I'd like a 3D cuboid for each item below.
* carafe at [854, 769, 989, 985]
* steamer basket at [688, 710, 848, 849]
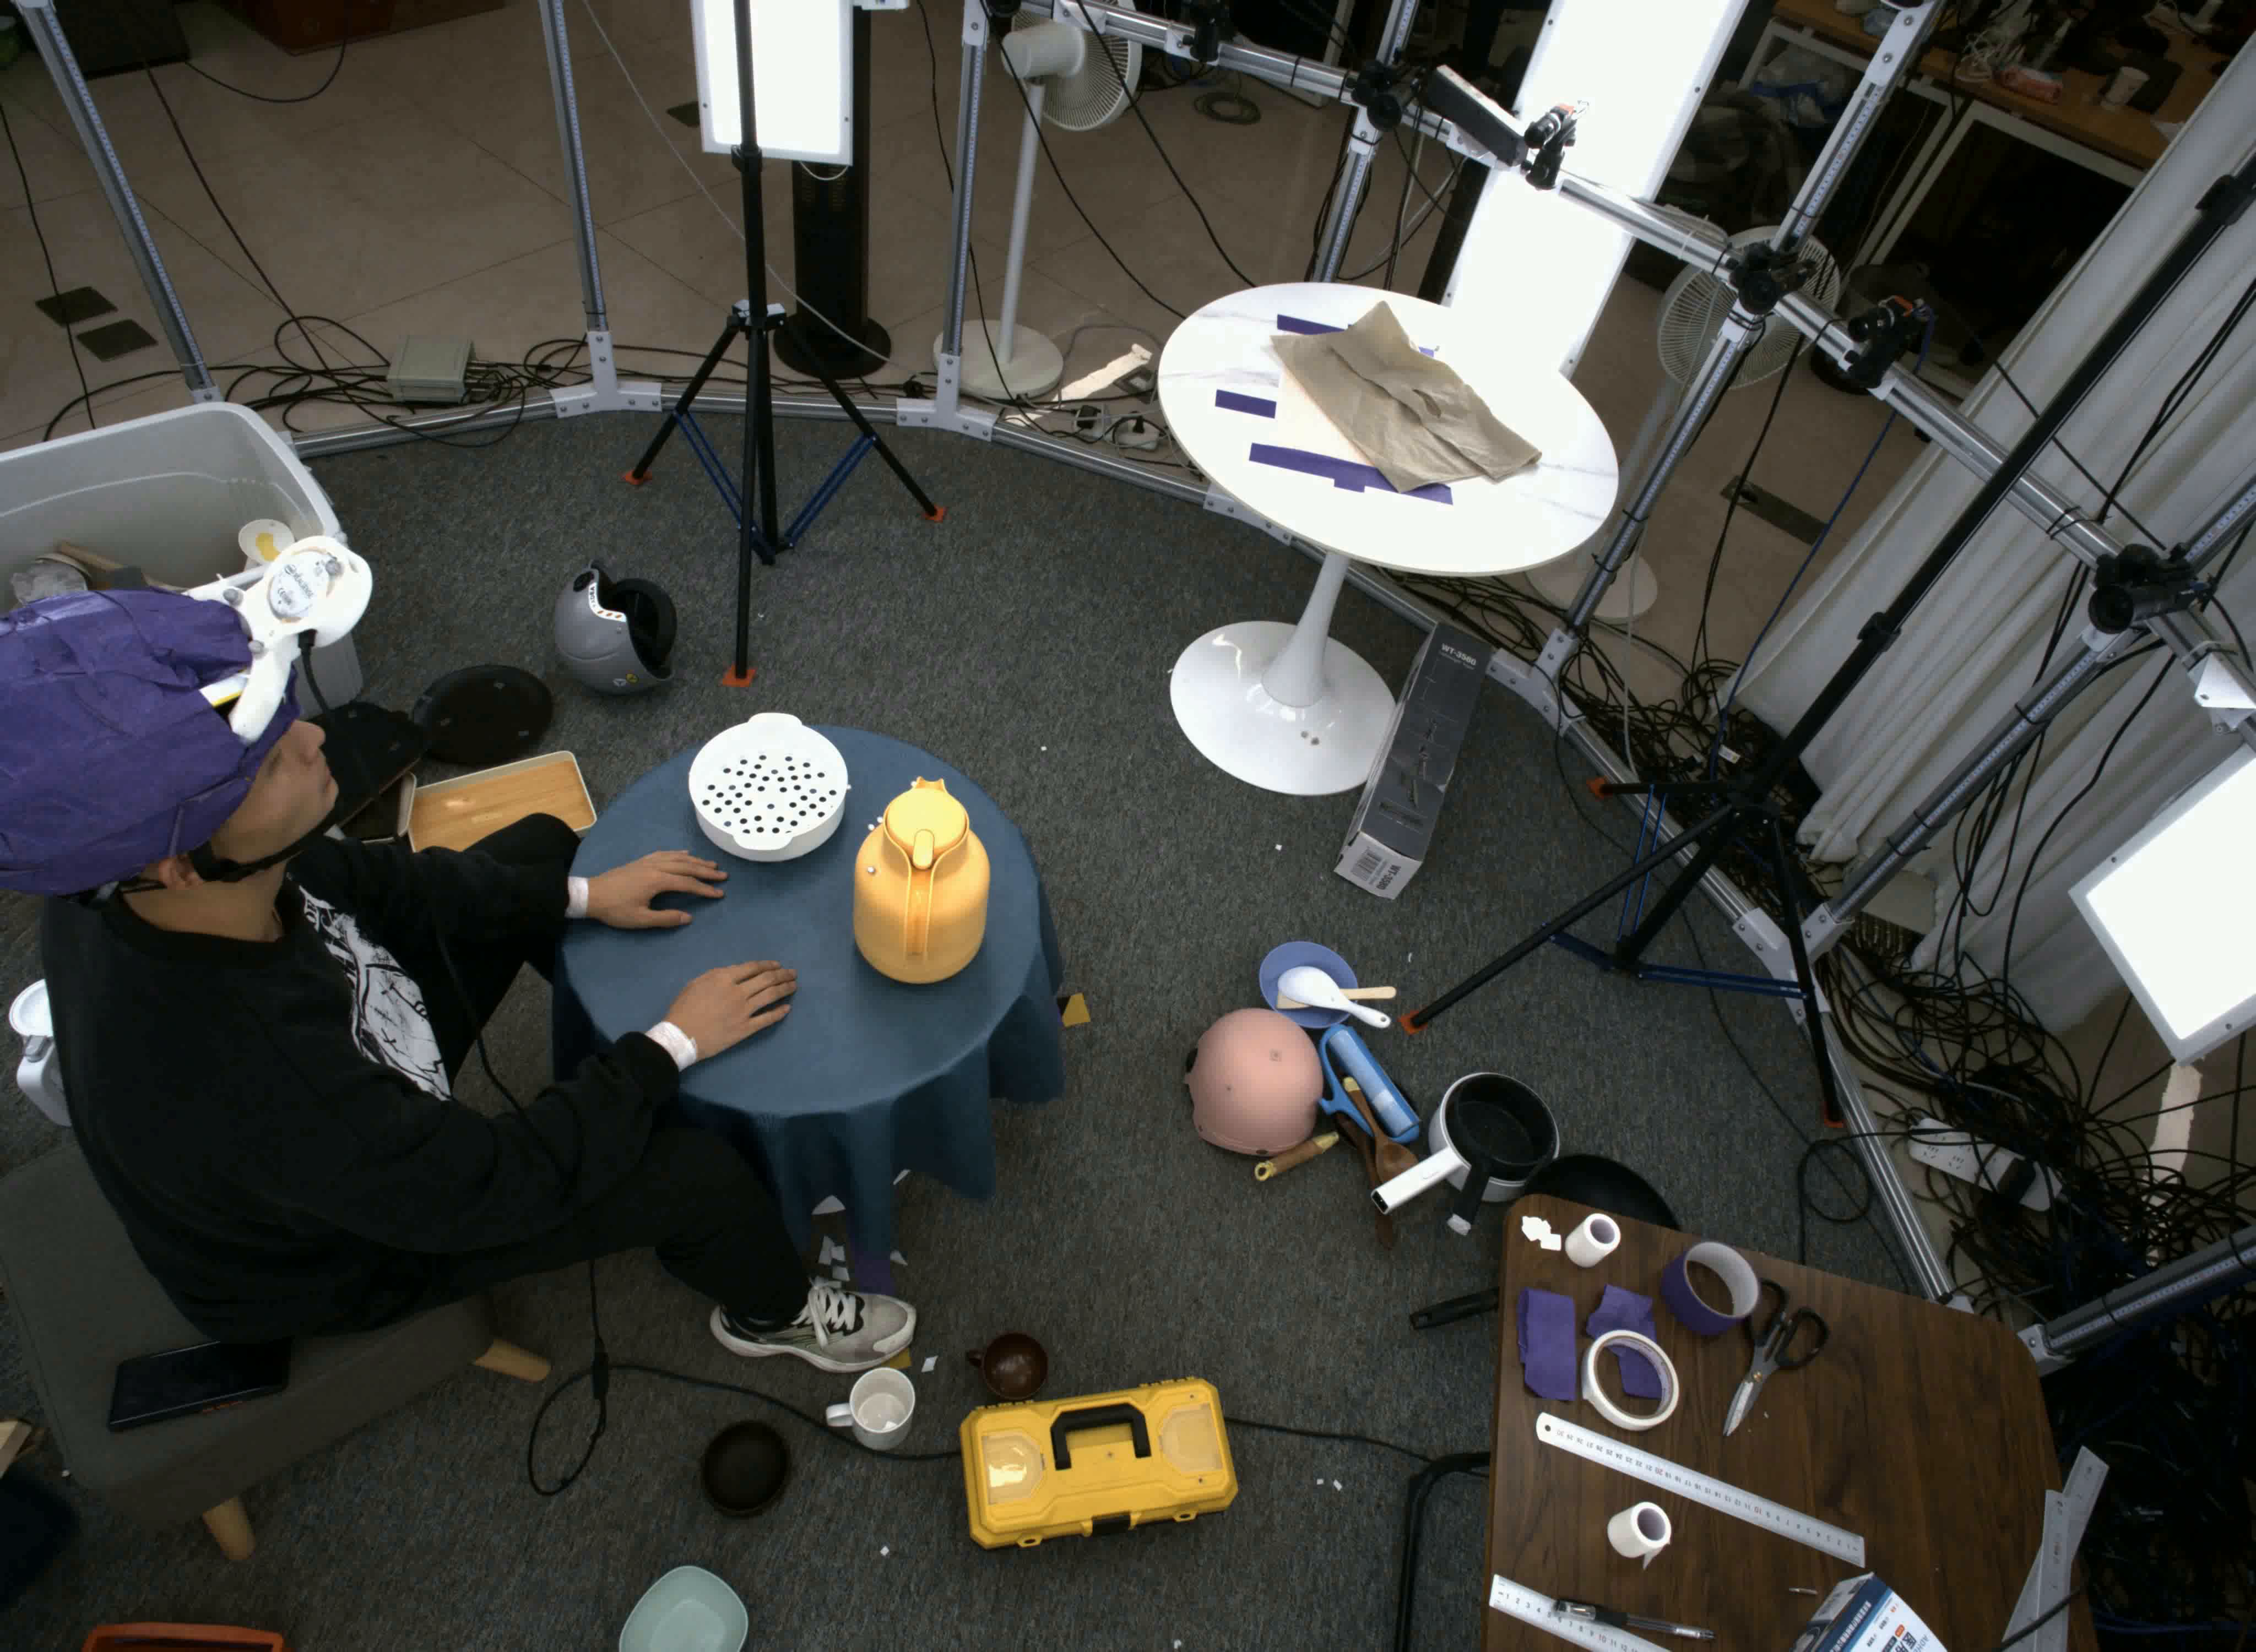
[{"bbox_3d":[-0.247,0.075,1.540,0.162,0.267,0.198,5,50,-5],"label":"carafe"},{"bbox_3d":[-0.471,-0.057,1.695,0.202,0.071,0.225,6,43,-15],"label":"steamer basket"}]
